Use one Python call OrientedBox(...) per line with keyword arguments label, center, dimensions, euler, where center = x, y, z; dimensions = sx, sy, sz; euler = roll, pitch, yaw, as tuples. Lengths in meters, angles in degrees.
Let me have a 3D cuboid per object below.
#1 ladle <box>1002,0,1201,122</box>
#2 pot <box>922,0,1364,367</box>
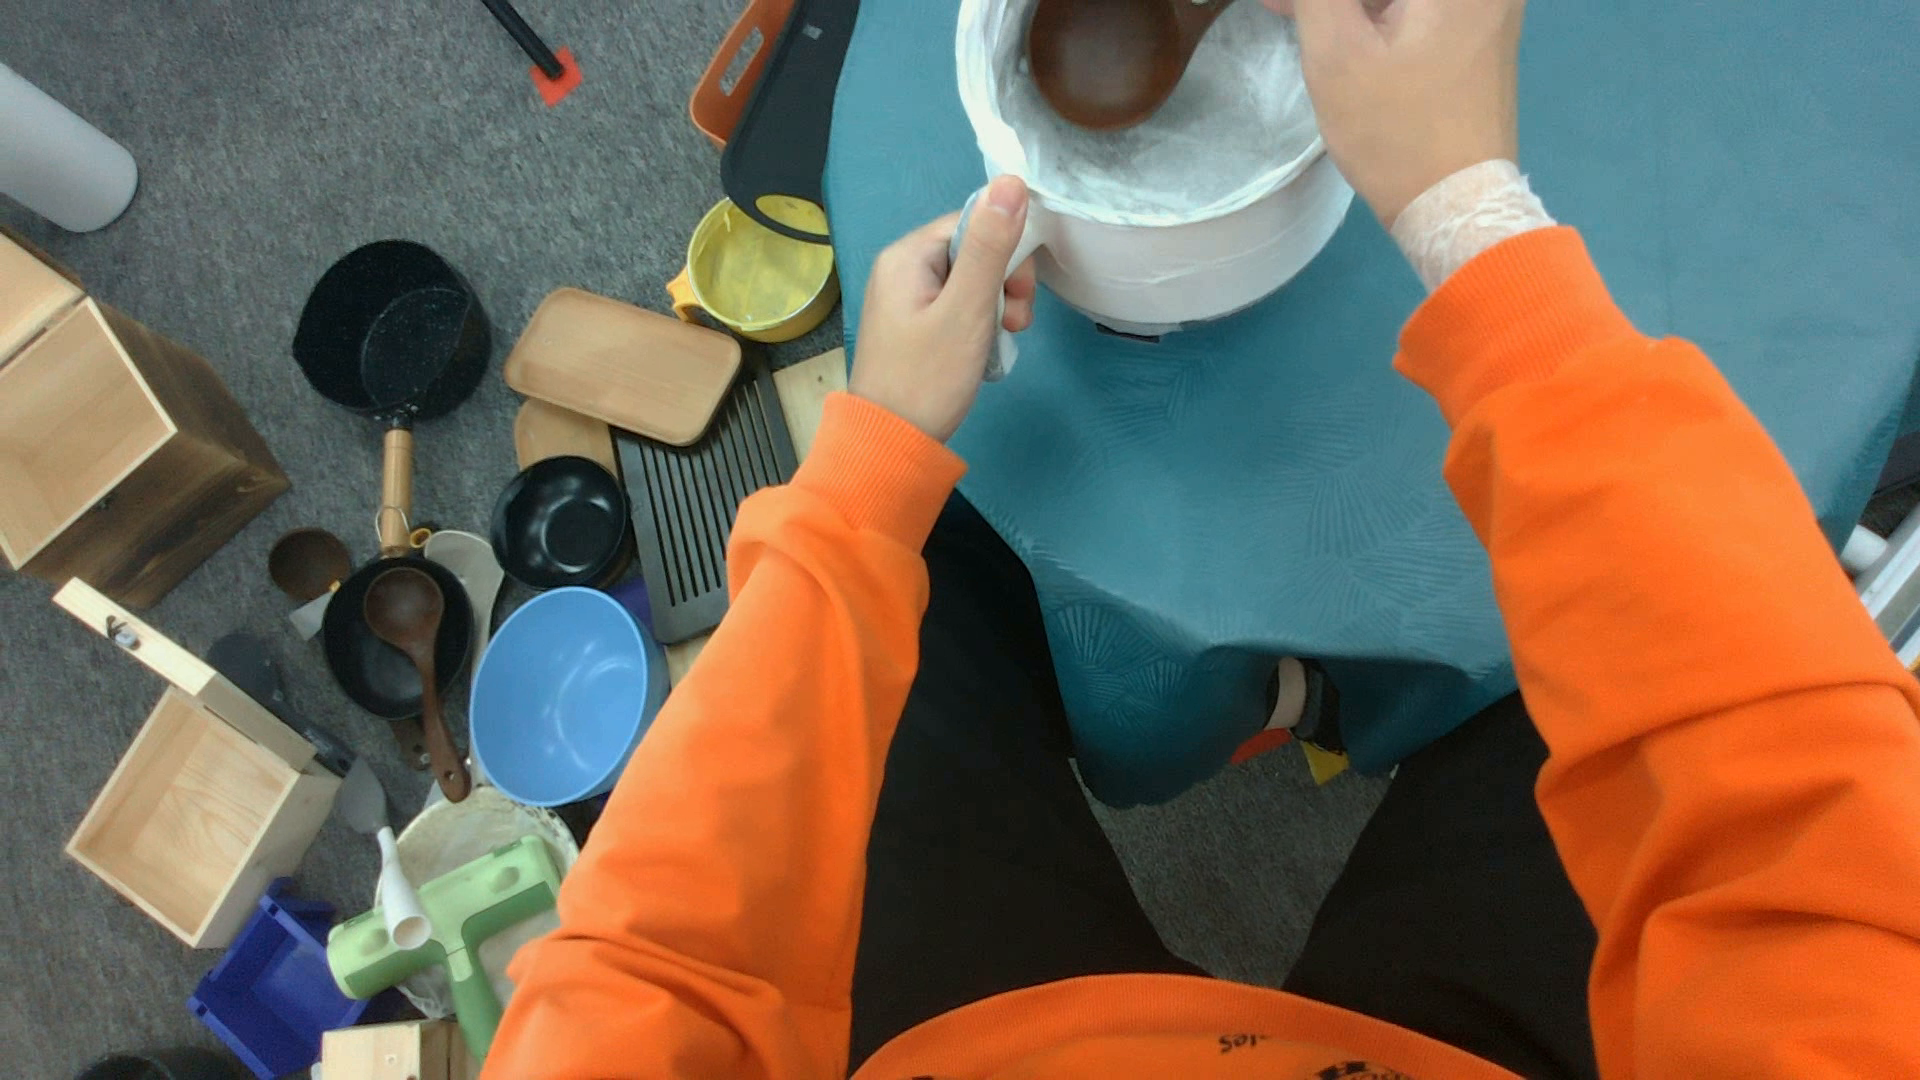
OrientedBox(label="ladle", center=(0.100, -0.229, 0.538), dimensions=(0.065, 0.259, 0.076), euler=(-35, 104, -20))
OrientedBox(label="pot", center=(0.070, -0.183, 0.634), dimensions=(0.179, 0.136, 0.234), euler=(42, 86, 17))
